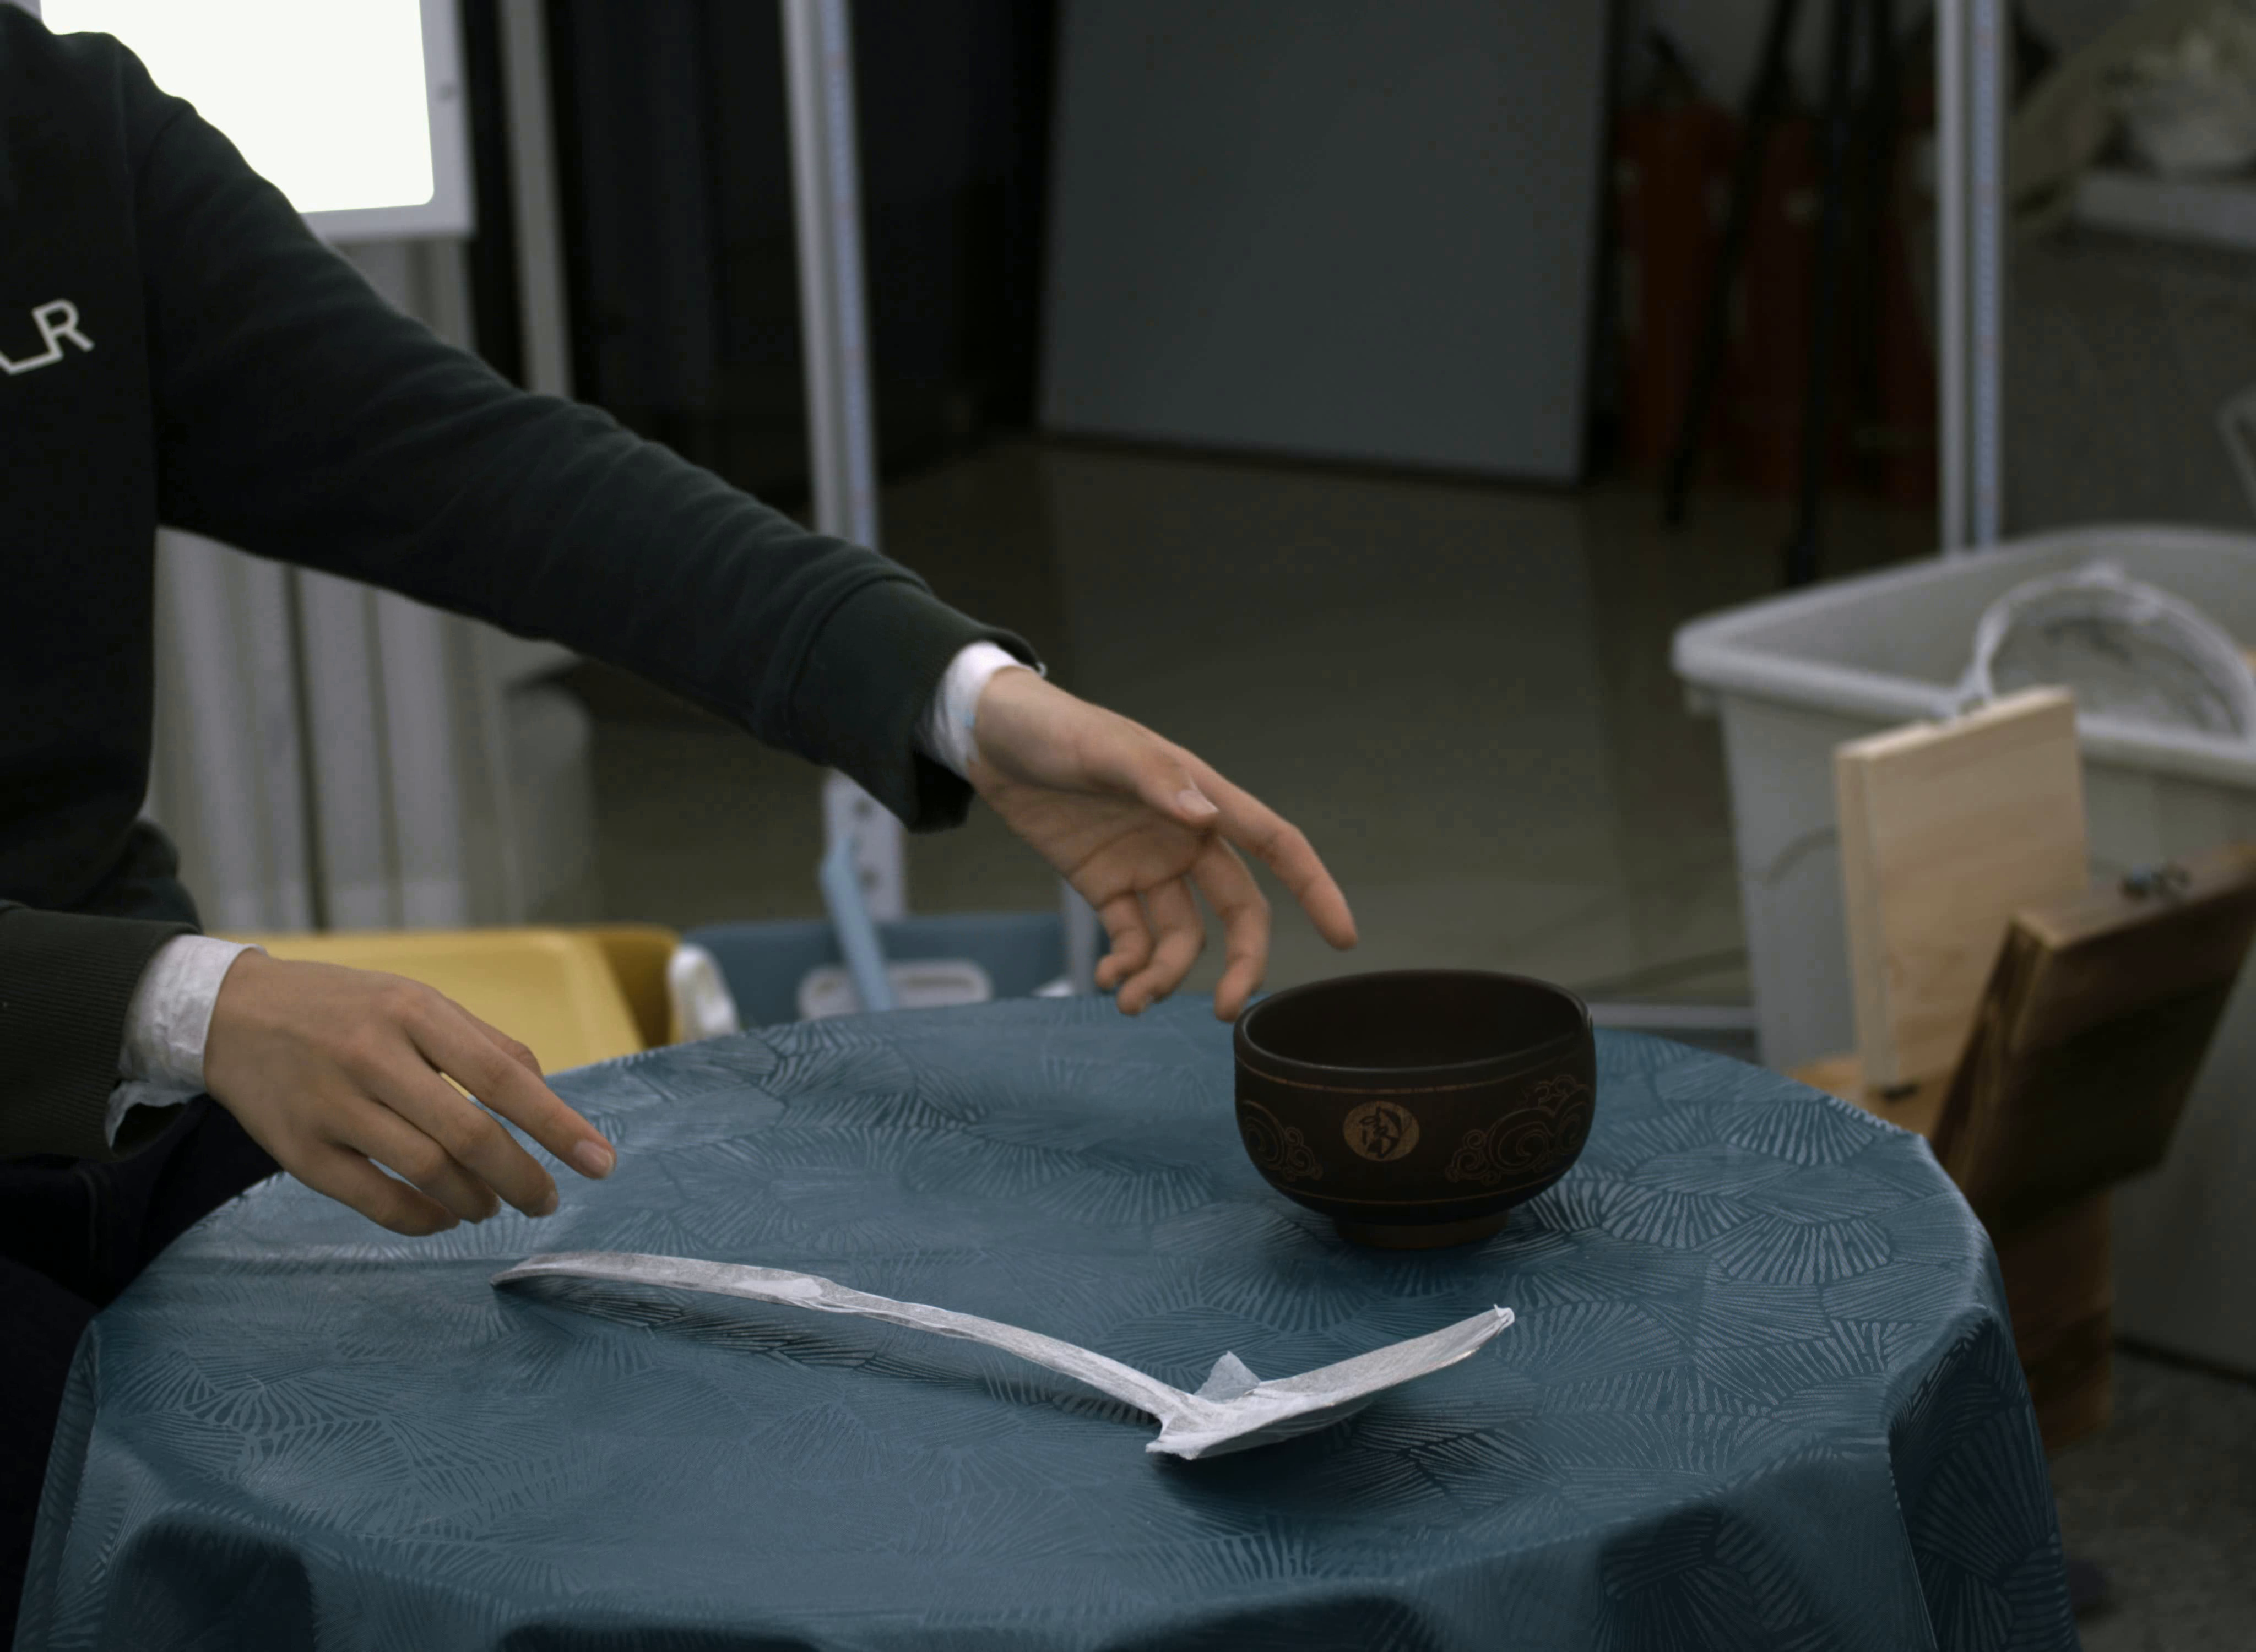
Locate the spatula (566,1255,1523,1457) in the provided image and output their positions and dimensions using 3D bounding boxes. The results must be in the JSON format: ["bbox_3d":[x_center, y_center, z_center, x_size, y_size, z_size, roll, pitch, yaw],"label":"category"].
[{"bbox_3d":[-0.046,0.146,1.606,0.368,0.045,0.097,8,20,39],"label":"spatula"}]

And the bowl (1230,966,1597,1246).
[{"bbox_3d":[0.091,0.092,1.712,0.116,0.070,0.118,-3,12,0],"label":"bowl"}]
